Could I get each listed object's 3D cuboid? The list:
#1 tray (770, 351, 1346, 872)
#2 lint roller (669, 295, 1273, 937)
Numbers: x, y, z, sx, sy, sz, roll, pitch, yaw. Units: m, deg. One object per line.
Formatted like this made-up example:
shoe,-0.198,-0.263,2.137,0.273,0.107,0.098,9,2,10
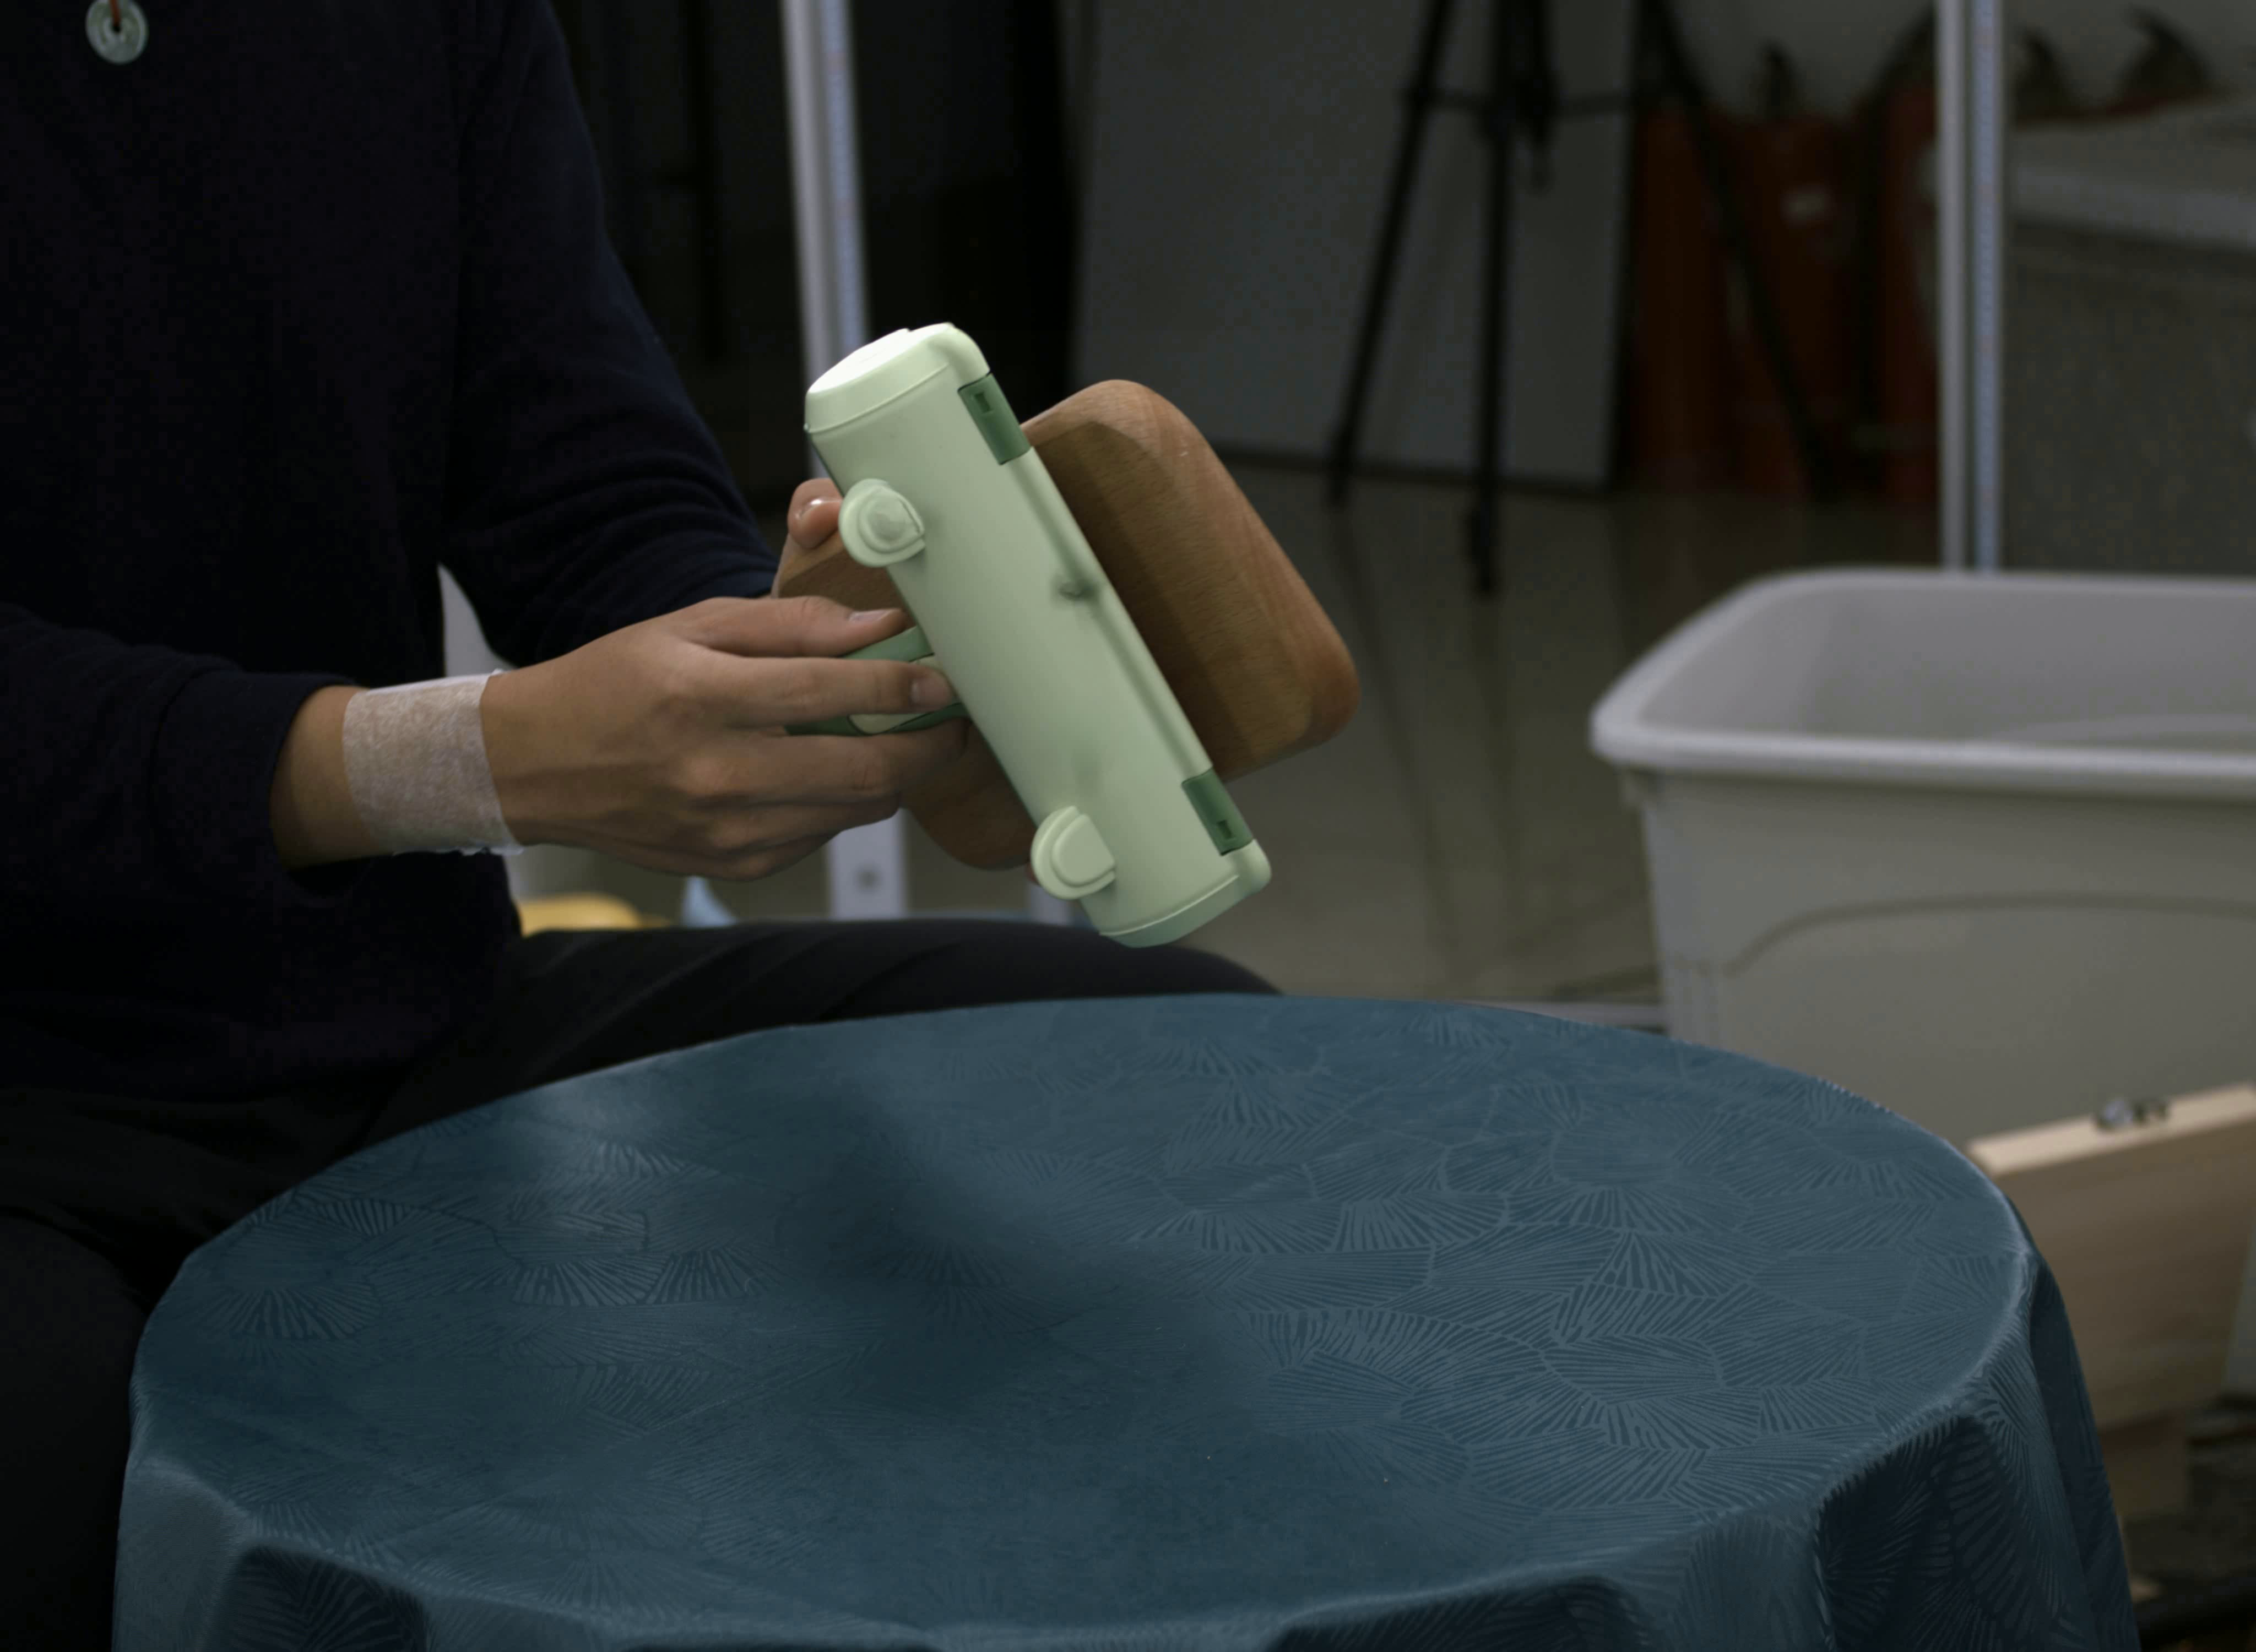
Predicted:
tray,-0.028,-0.060,1.650,0.022,0.131,0.253,-35,5,-31
lint roller,-0.075,-0.037,1.605,0.184,0.199,0.081,-24,14,28
